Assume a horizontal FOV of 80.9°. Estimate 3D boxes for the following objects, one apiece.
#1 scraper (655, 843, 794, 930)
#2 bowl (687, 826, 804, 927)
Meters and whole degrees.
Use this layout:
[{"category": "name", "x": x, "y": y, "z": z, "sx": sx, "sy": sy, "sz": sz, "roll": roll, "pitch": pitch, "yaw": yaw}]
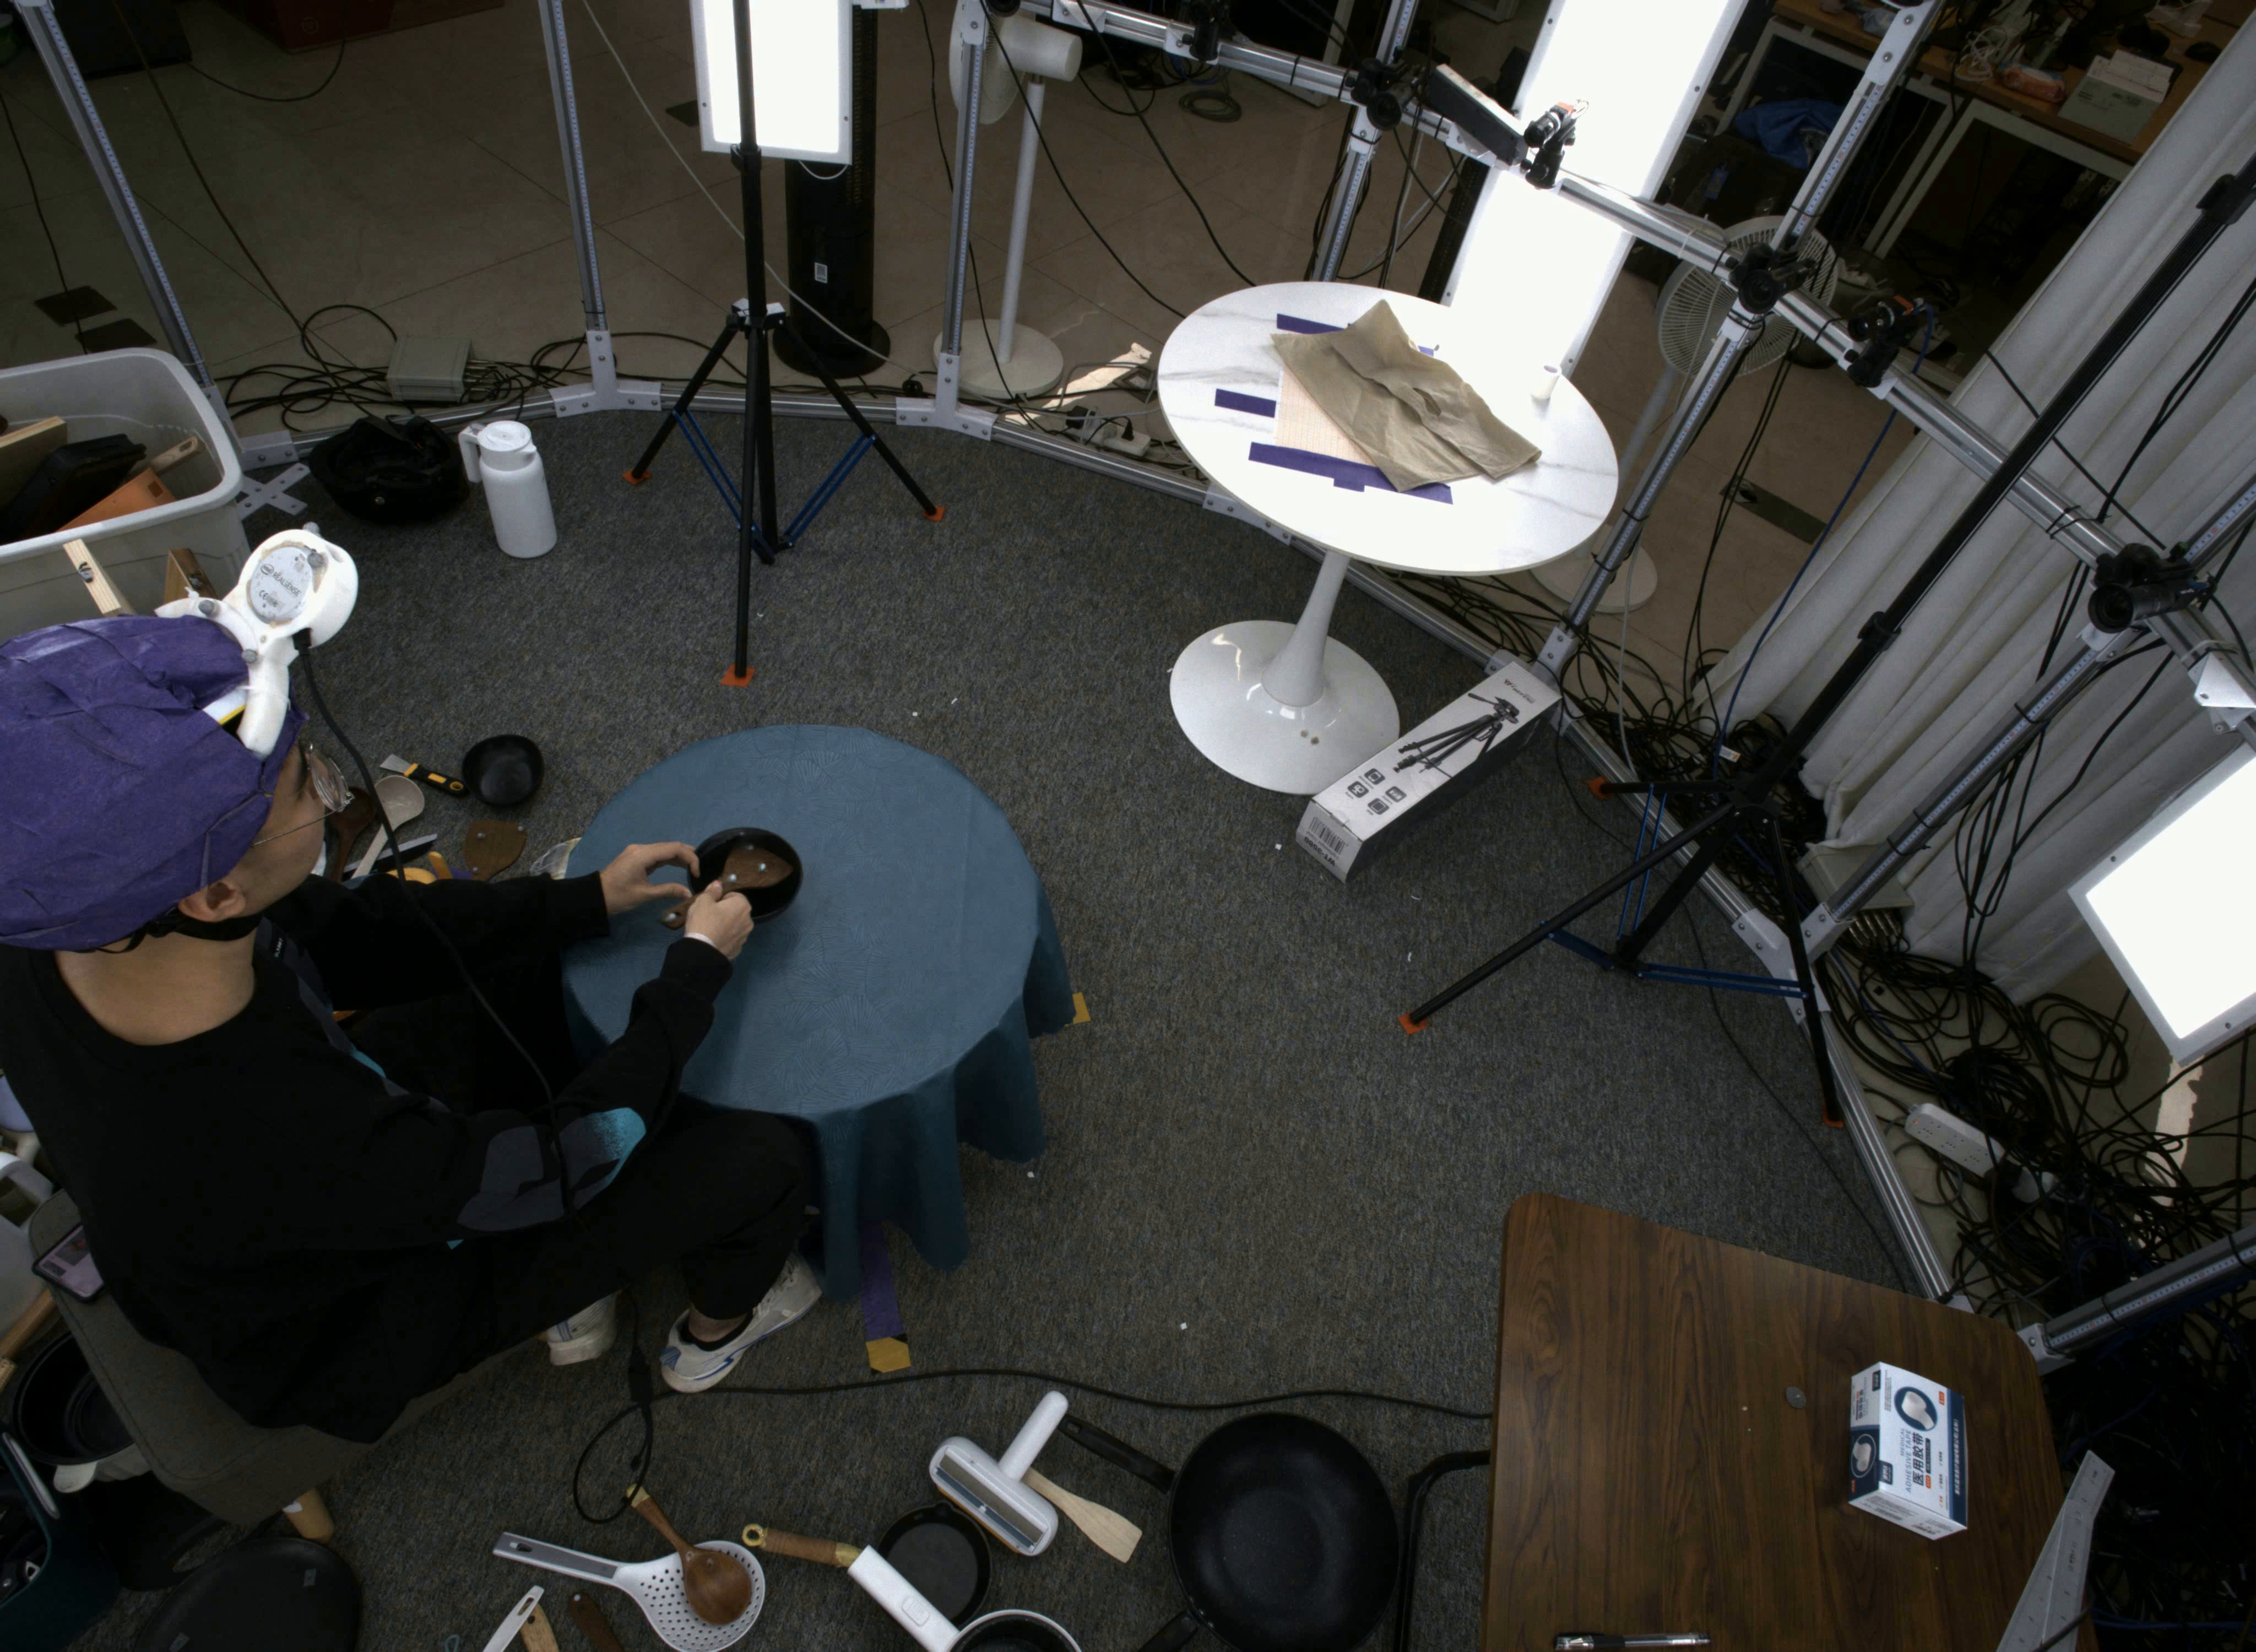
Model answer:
[{"category": "scraper", "x": -0.486, "y": 0.074, "z": 1.540, "sx": 0.074, "sy": 0.011, "sz": 0.211, "roll": 32, "pitch": 29, "yaw": 10}, {"category": "bowl", "x": -0.472, "y": 0.069, "z": 1.597, "sx": 0.140, "sy": 0.050, "sz": 0.137, "roll": 10, "pitch": 54, "yaw": -12}]
